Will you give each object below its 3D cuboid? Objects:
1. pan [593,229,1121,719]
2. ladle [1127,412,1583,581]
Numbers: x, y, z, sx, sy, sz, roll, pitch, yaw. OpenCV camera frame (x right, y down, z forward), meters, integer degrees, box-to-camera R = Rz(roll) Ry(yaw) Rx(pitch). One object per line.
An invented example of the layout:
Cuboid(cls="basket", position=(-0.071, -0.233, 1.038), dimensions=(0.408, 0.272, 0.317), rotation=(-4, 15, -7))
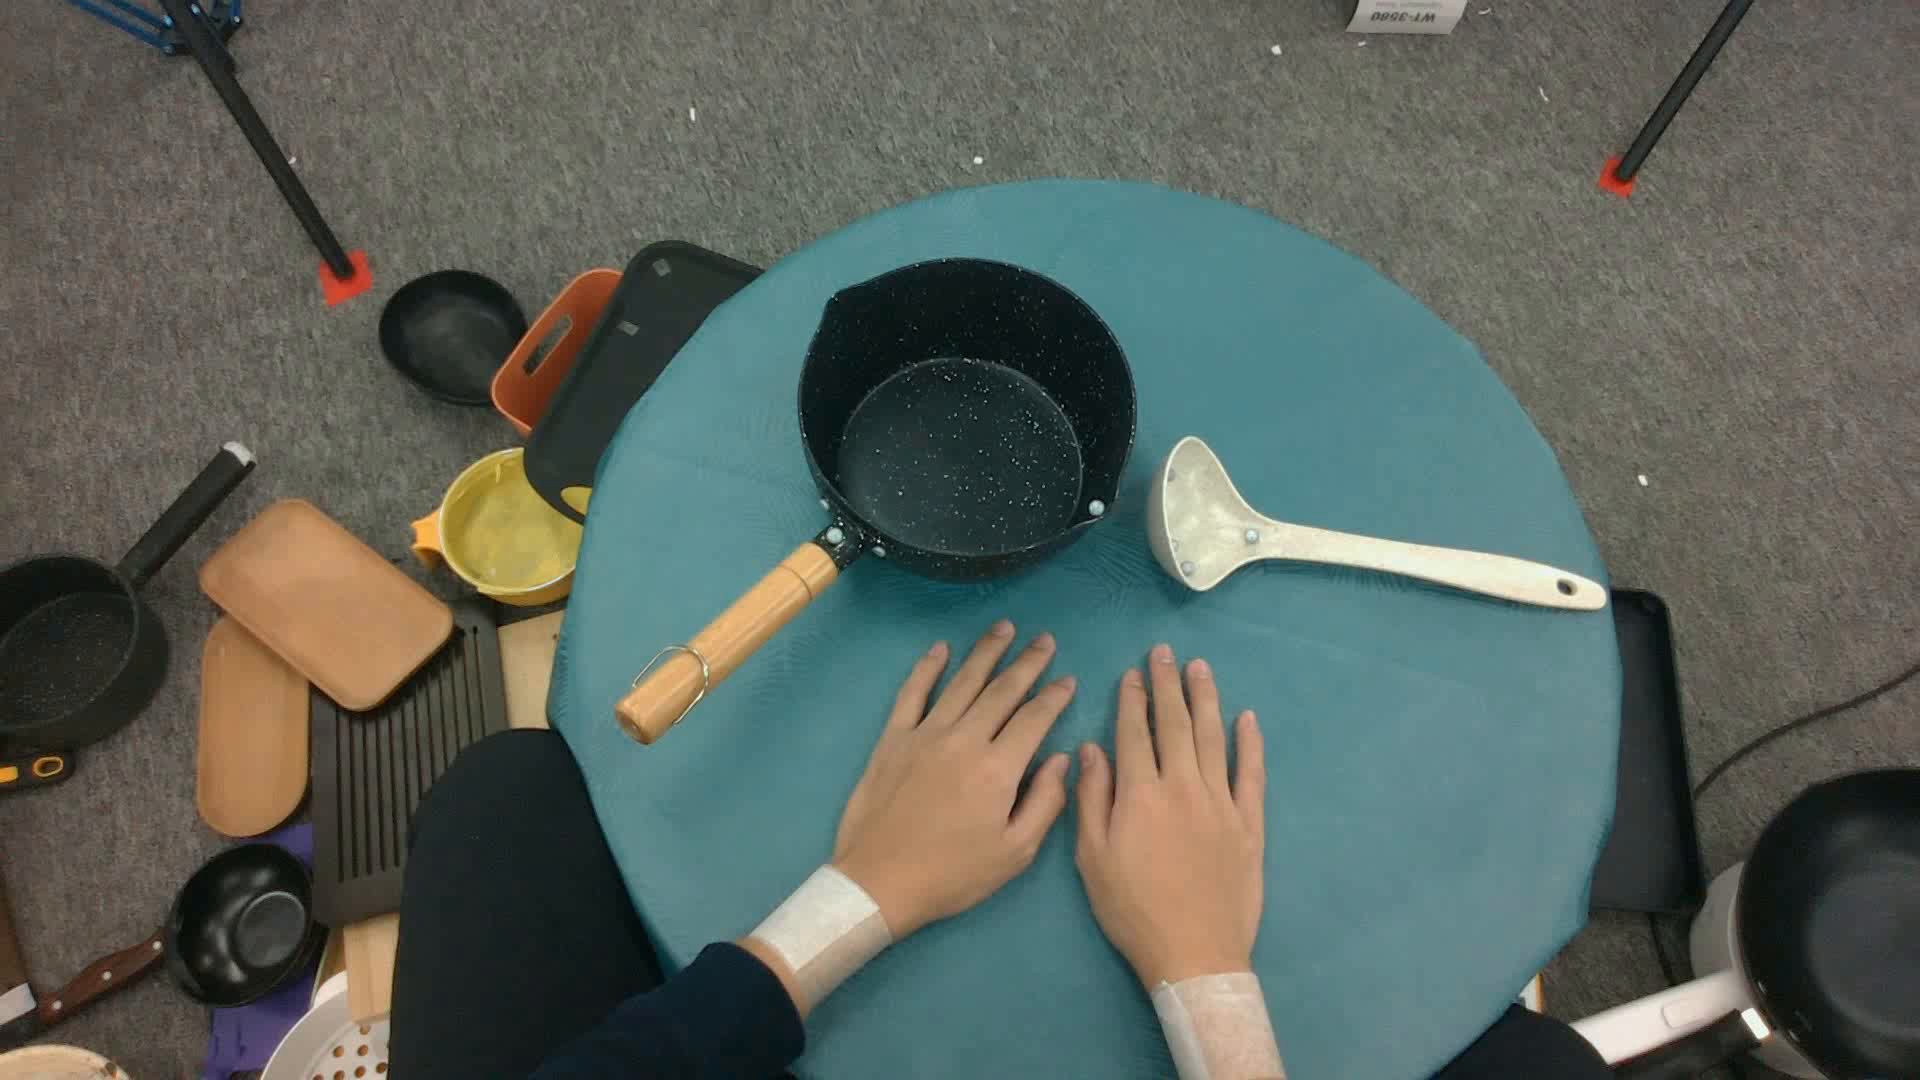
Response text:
Cuboid(cls="pan", position=(-0.057, -0.021, 0.737), dimensions=(0.207, 0.108, 0.344), rotation=(38, 68, 10))
Cuboid(cls="ladle", position=(0.230, -0.015, 0.775), dimensions=(0.275, 0.069, 0.089), rotation=(8, 63, -1))
